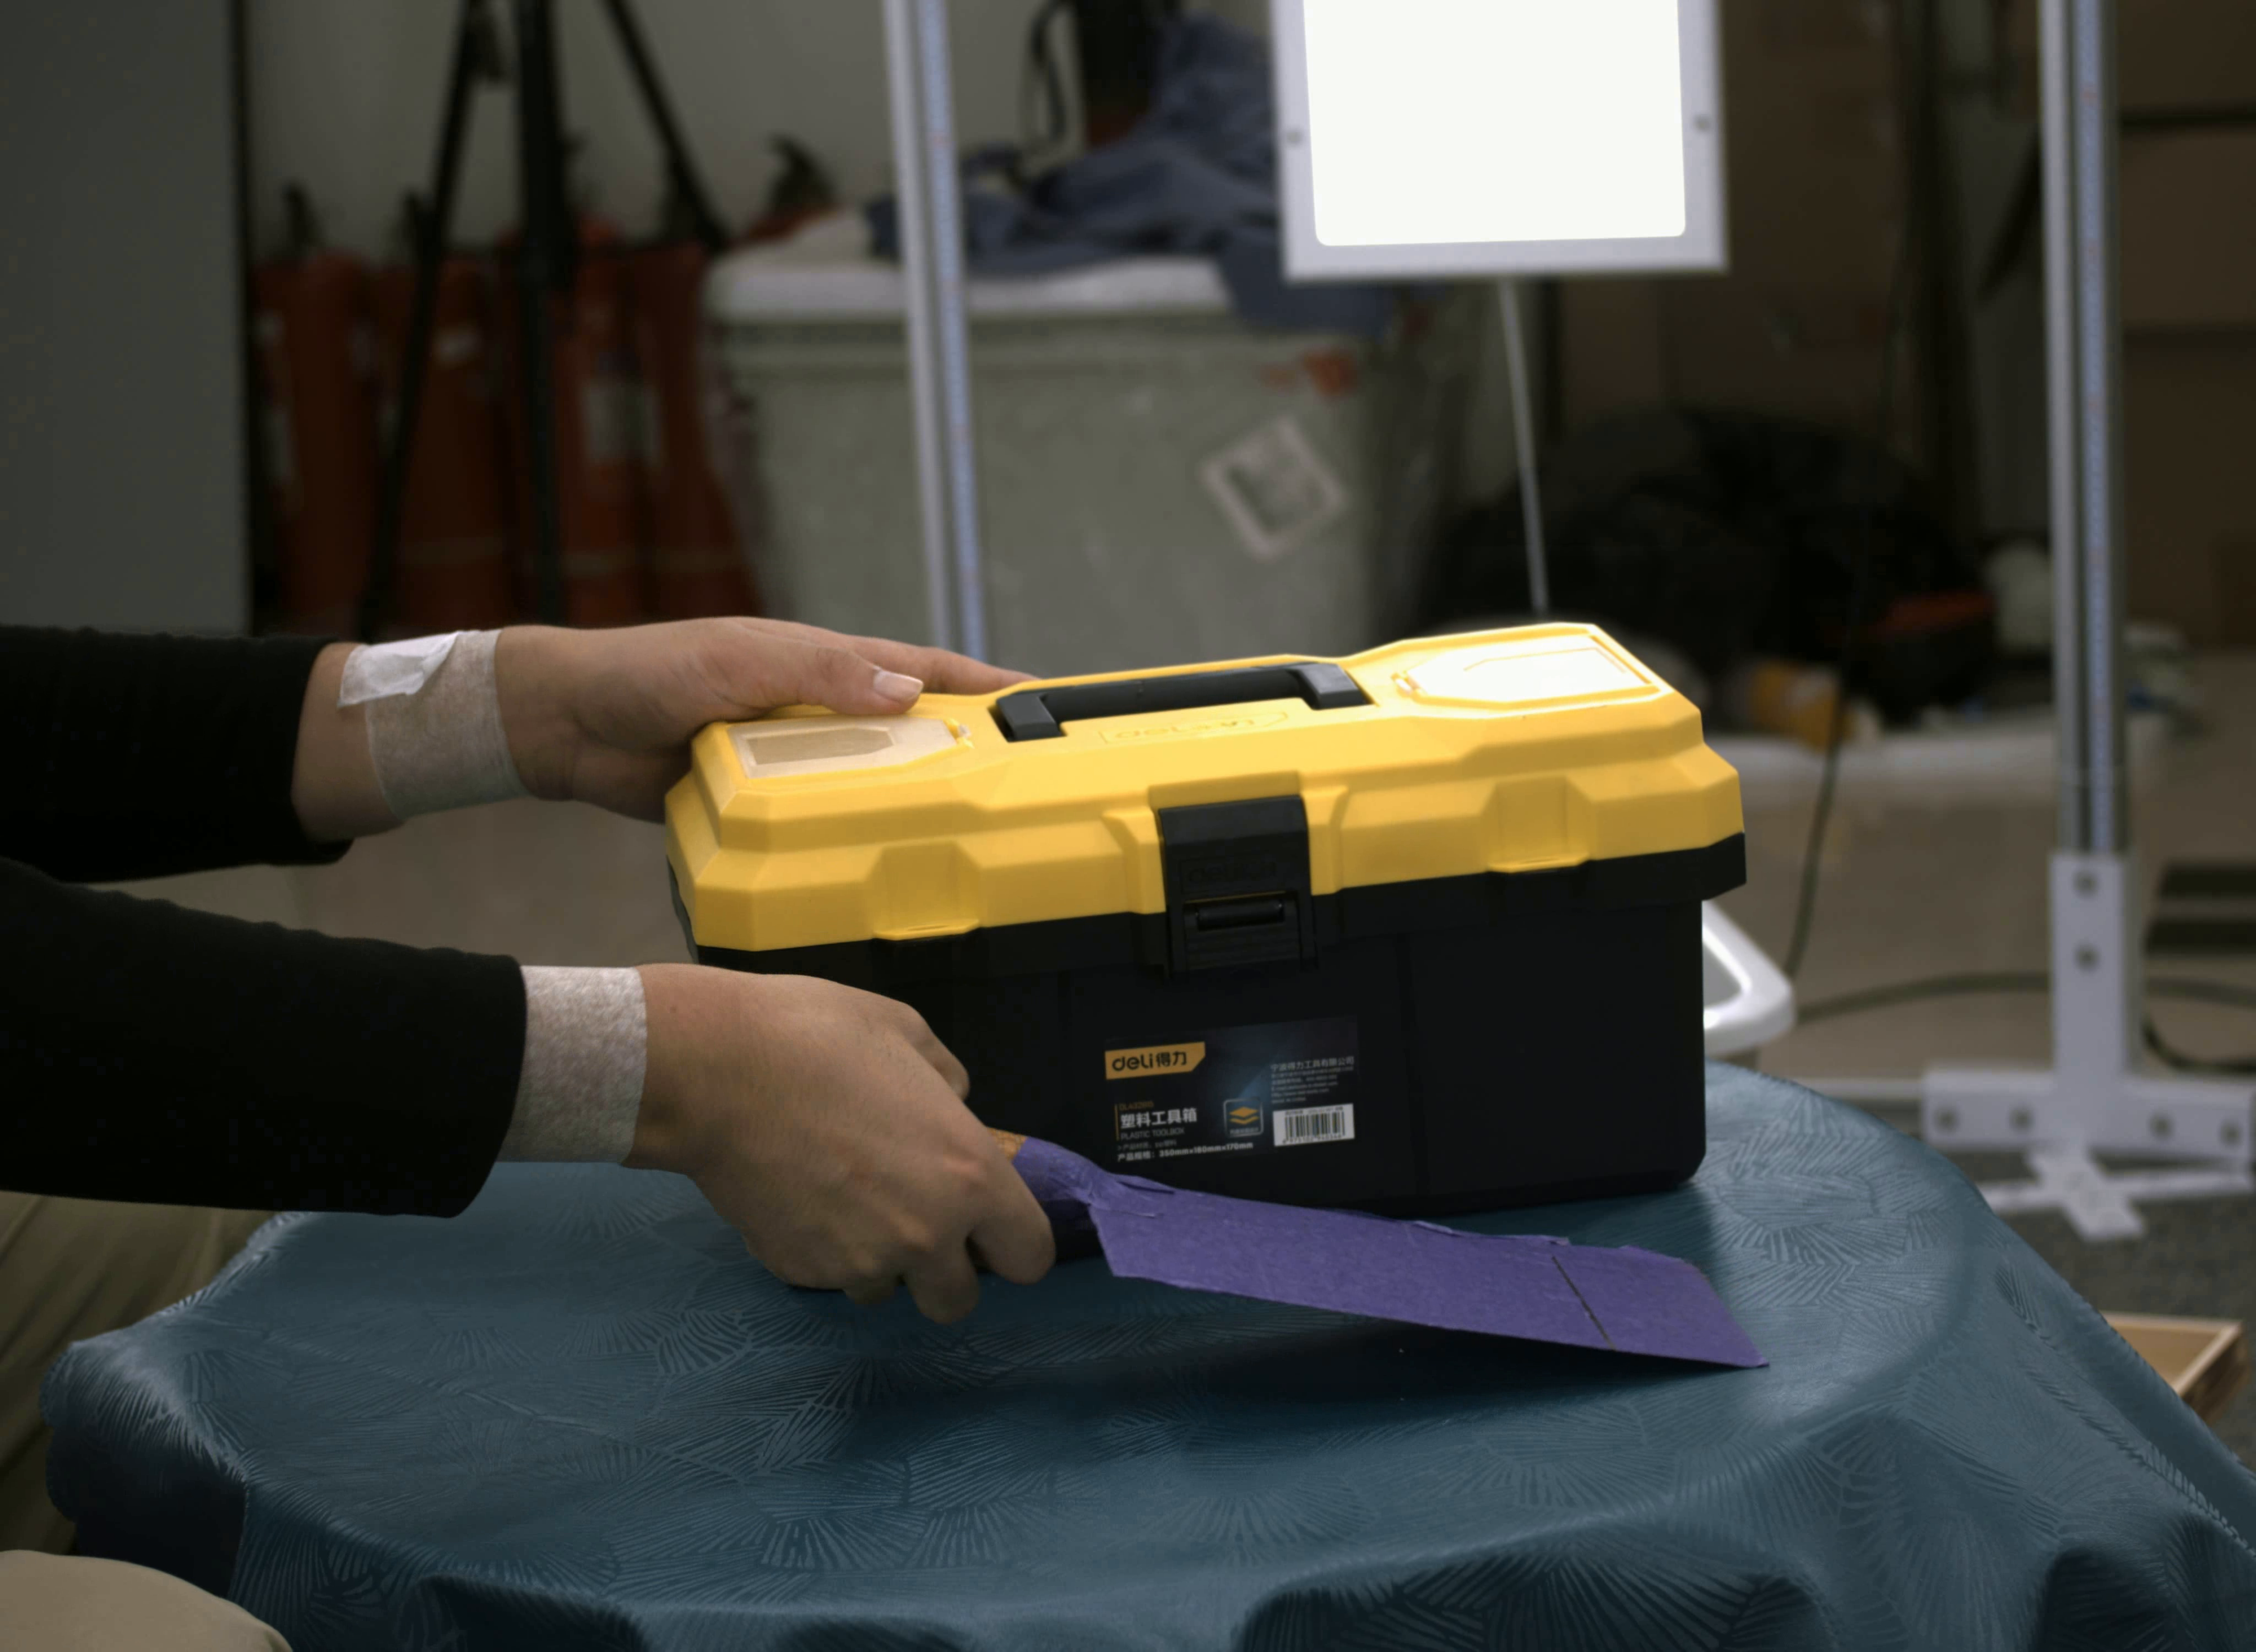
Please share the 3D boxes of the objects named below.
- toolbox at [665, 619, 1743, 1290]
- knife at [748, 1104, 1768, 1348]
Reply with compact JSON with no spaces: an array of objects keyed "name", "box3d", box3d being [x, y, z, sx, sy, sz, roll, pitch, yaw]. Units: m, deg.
[{"name":"toolbox","box3d":[0.026,0.042,1.871,0.349,0.173,0.182,-7,13,-5]},{"name":"knife","box3d":[0.042,0.124,1.696,0.312,0.032,0.104,6,13,-8]}]
